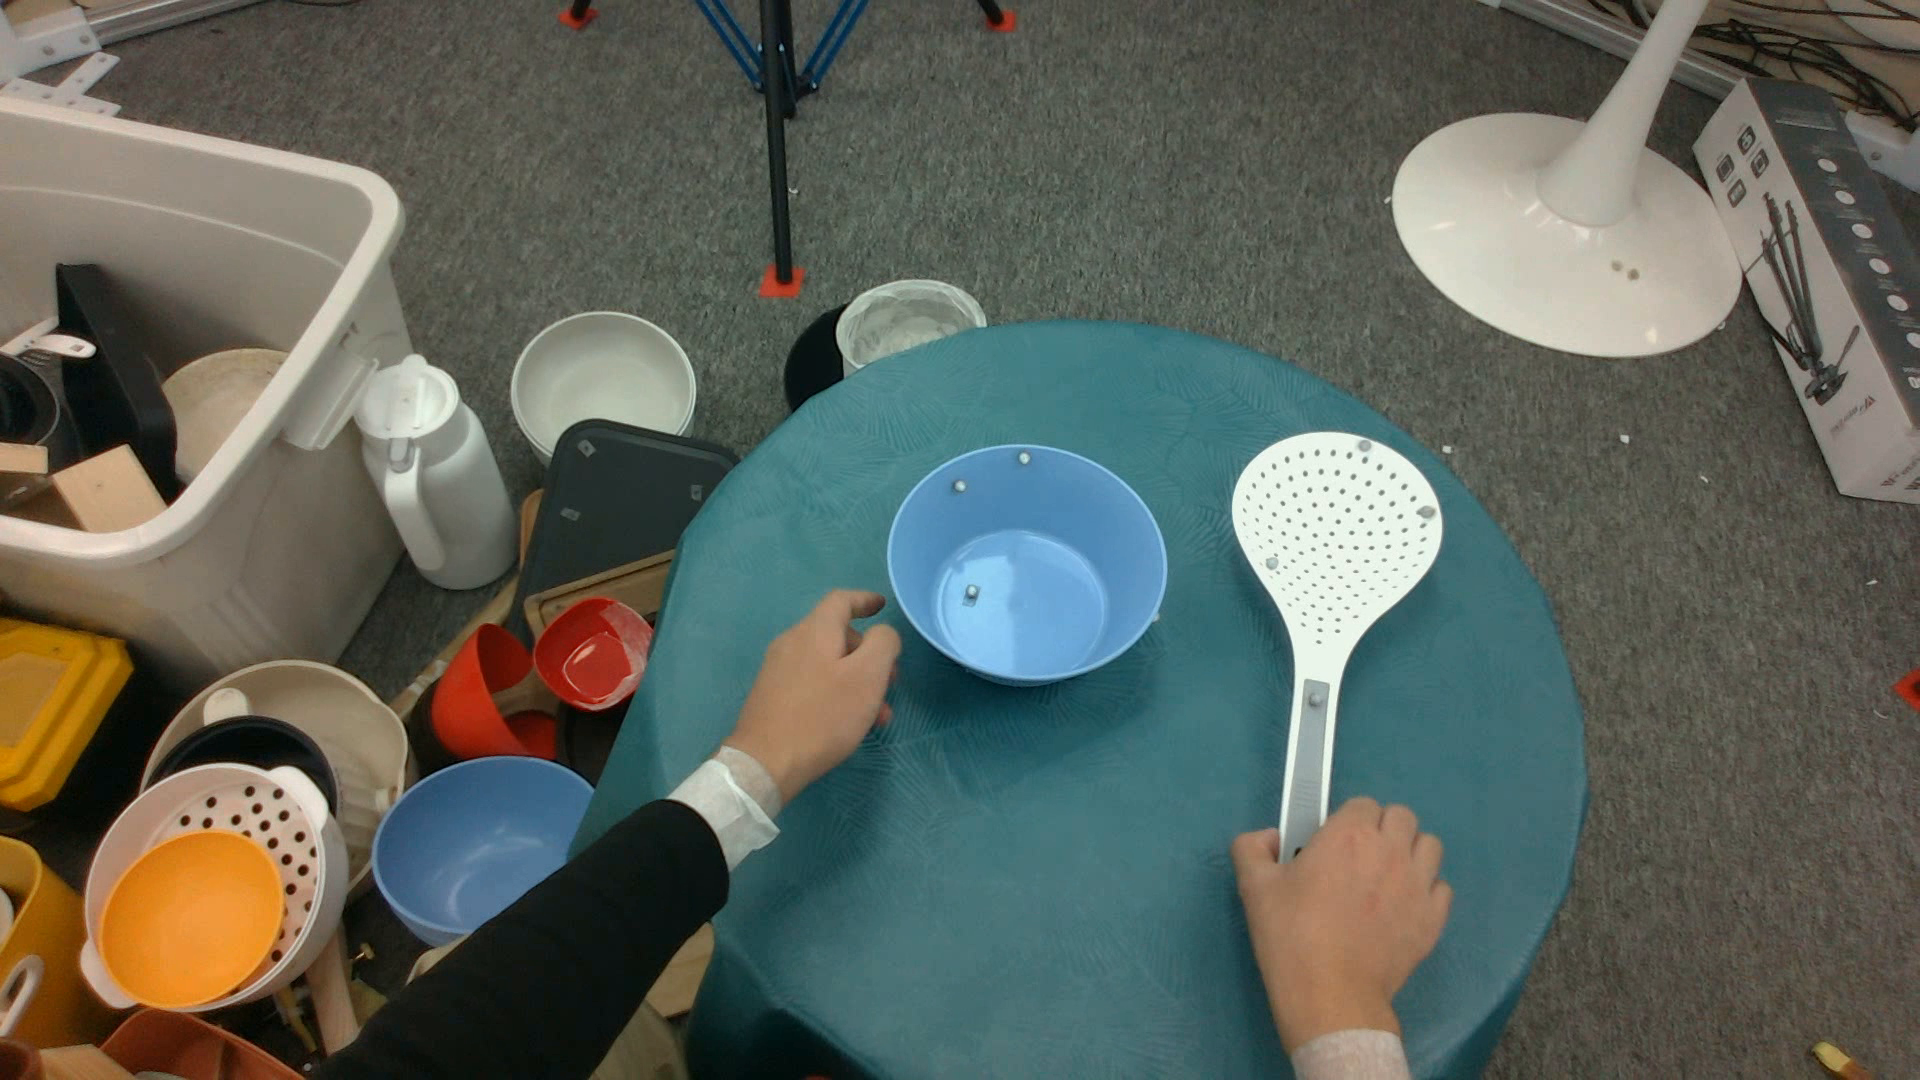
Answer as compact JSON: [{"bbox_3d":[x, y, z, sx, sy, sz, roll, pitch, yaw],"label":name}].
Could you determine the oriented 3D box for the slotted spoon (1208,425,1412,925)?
[{"bbox_3d":[0.212,0.072,0.875,0.136,0.045,0.351,10,54,7],"label":"slotted spoon"}]

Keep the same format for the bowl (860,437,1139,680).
[{"bbox_3d":[0.023,0.023,0.884,0.176,0.070,0.177,2,57,-3],"label":"bowl"}]
